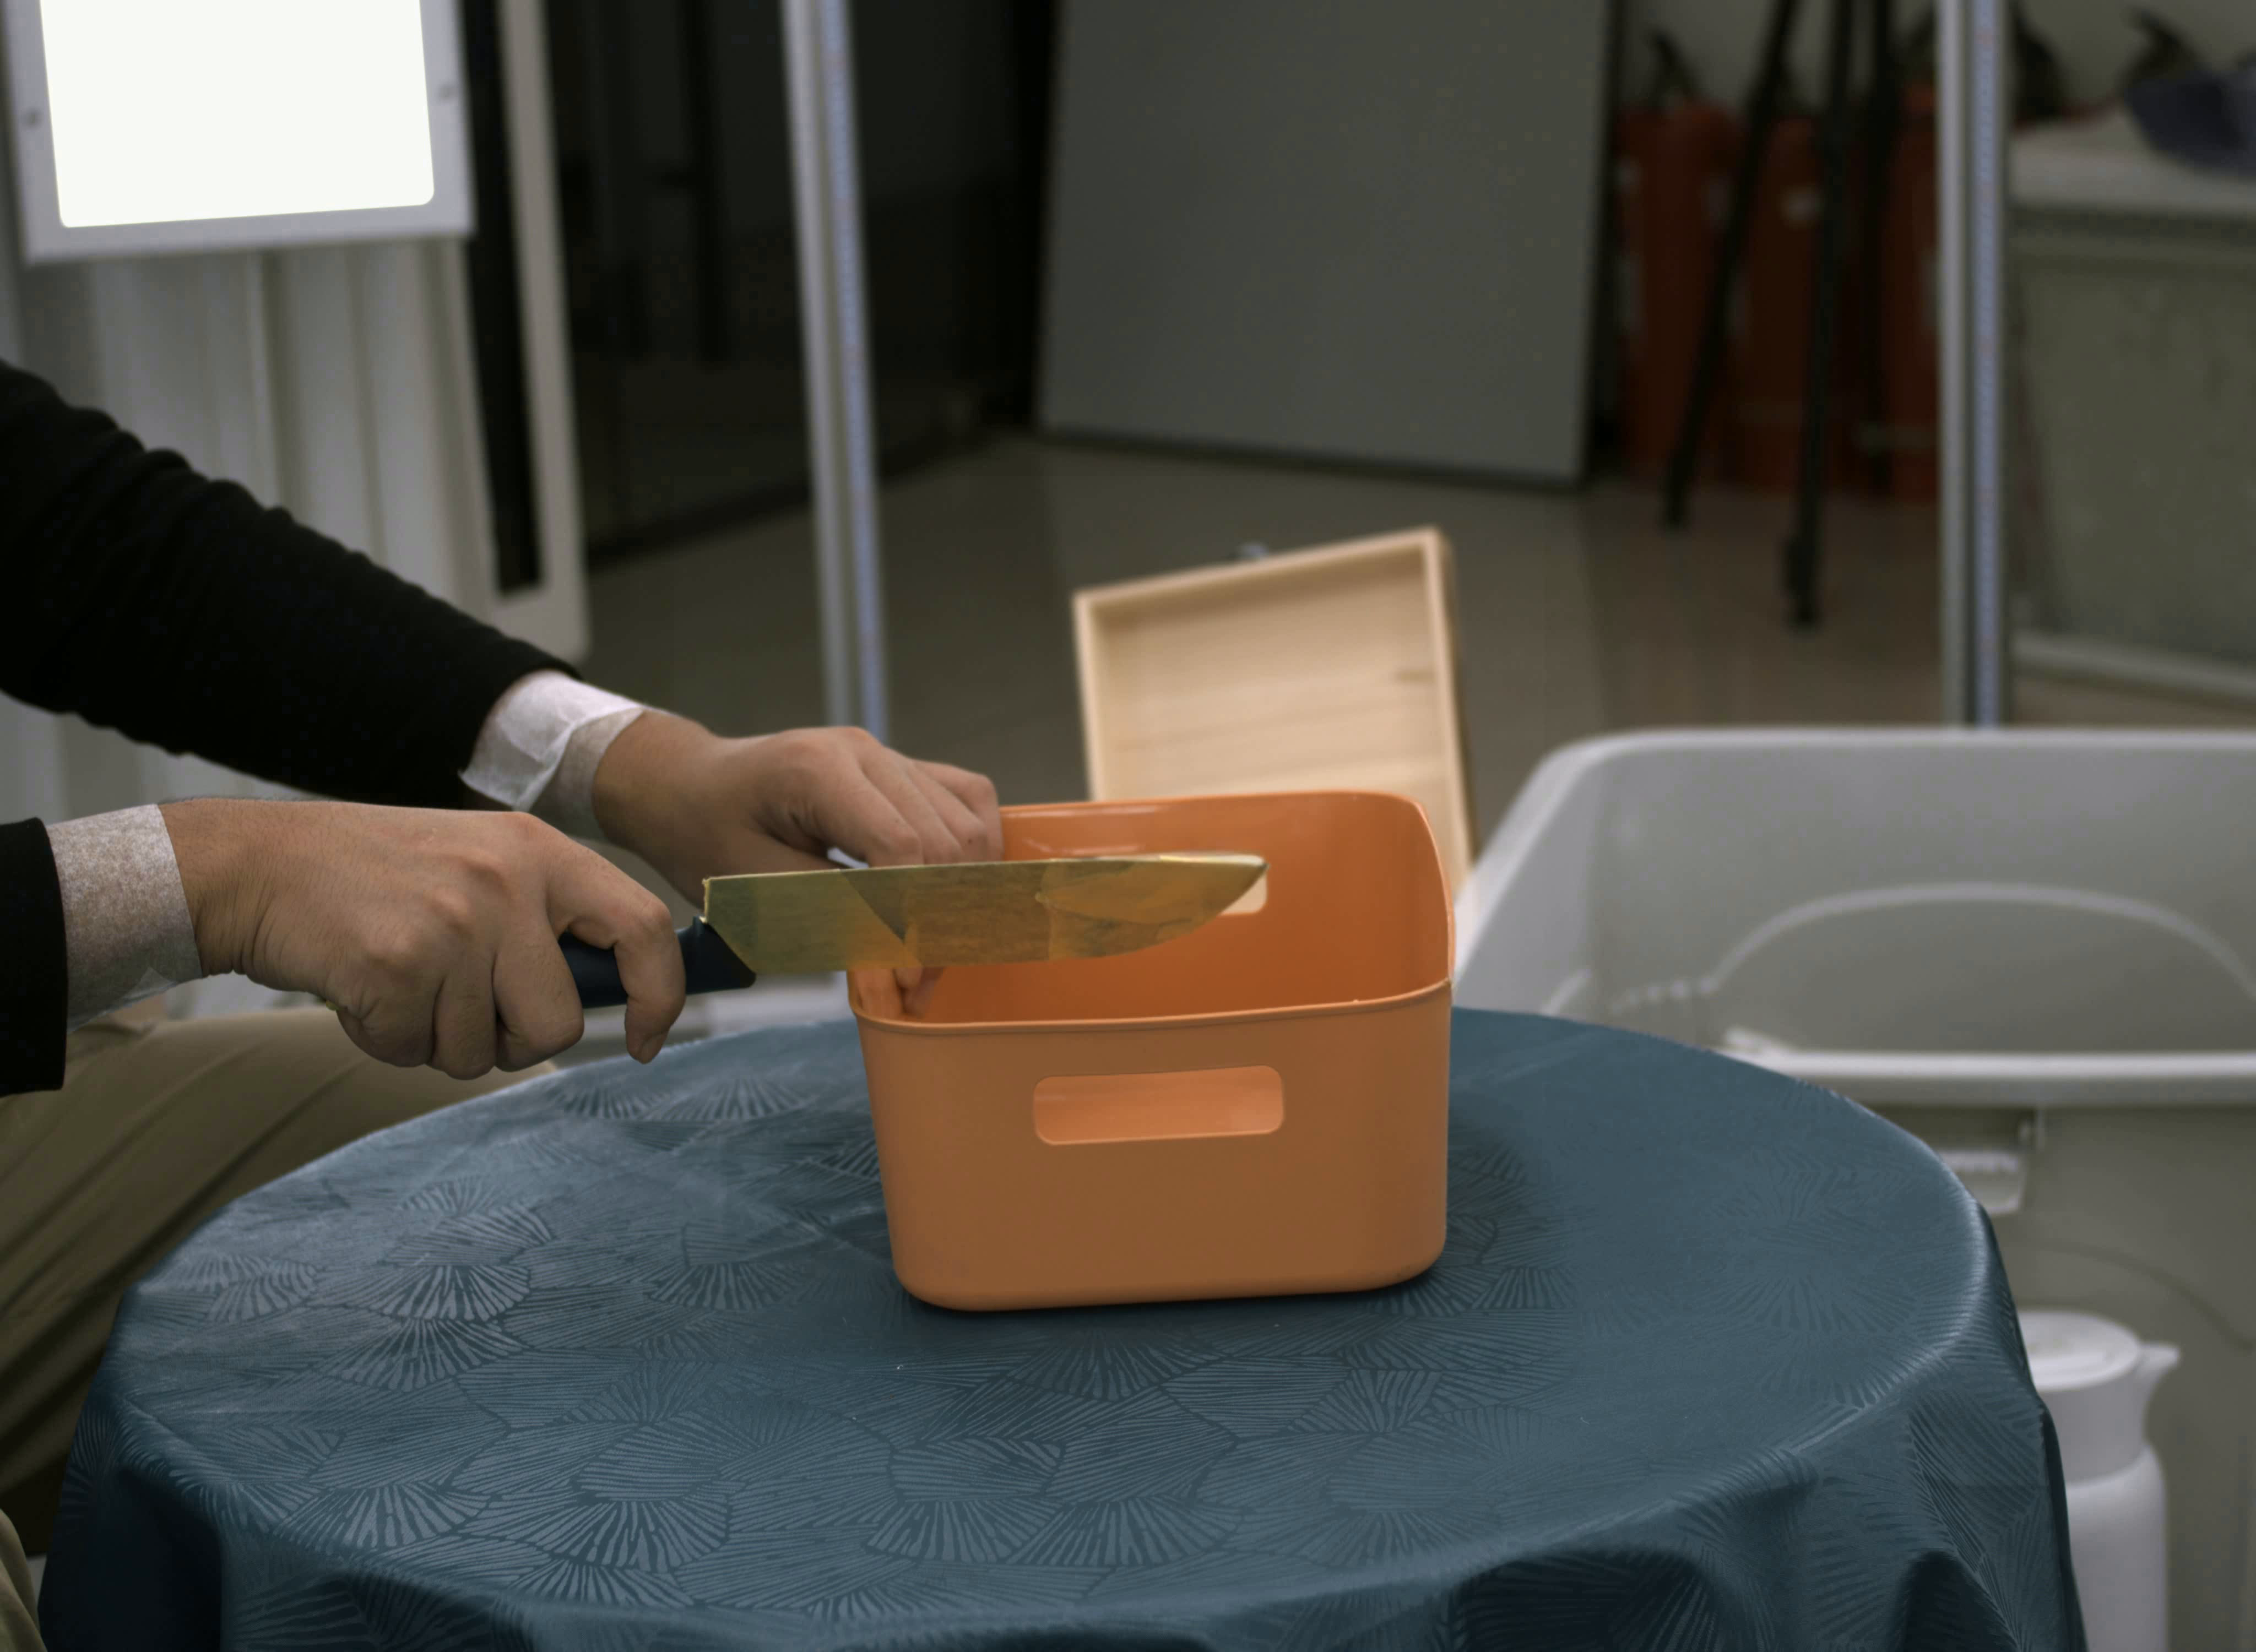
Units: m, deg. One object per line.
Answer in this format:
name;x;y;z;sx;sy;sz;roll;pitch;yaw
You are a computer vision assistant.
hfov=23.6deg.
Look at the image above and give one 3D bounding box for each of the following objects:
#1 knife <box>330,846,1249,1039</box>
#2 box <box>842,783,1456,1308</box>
knife;-0.104;0.033;1.656;0.286;0.027;0.081;-7;-30;1
box;0.009;0.069;1.757;0.197;0.104;0.273;-3;14;2
